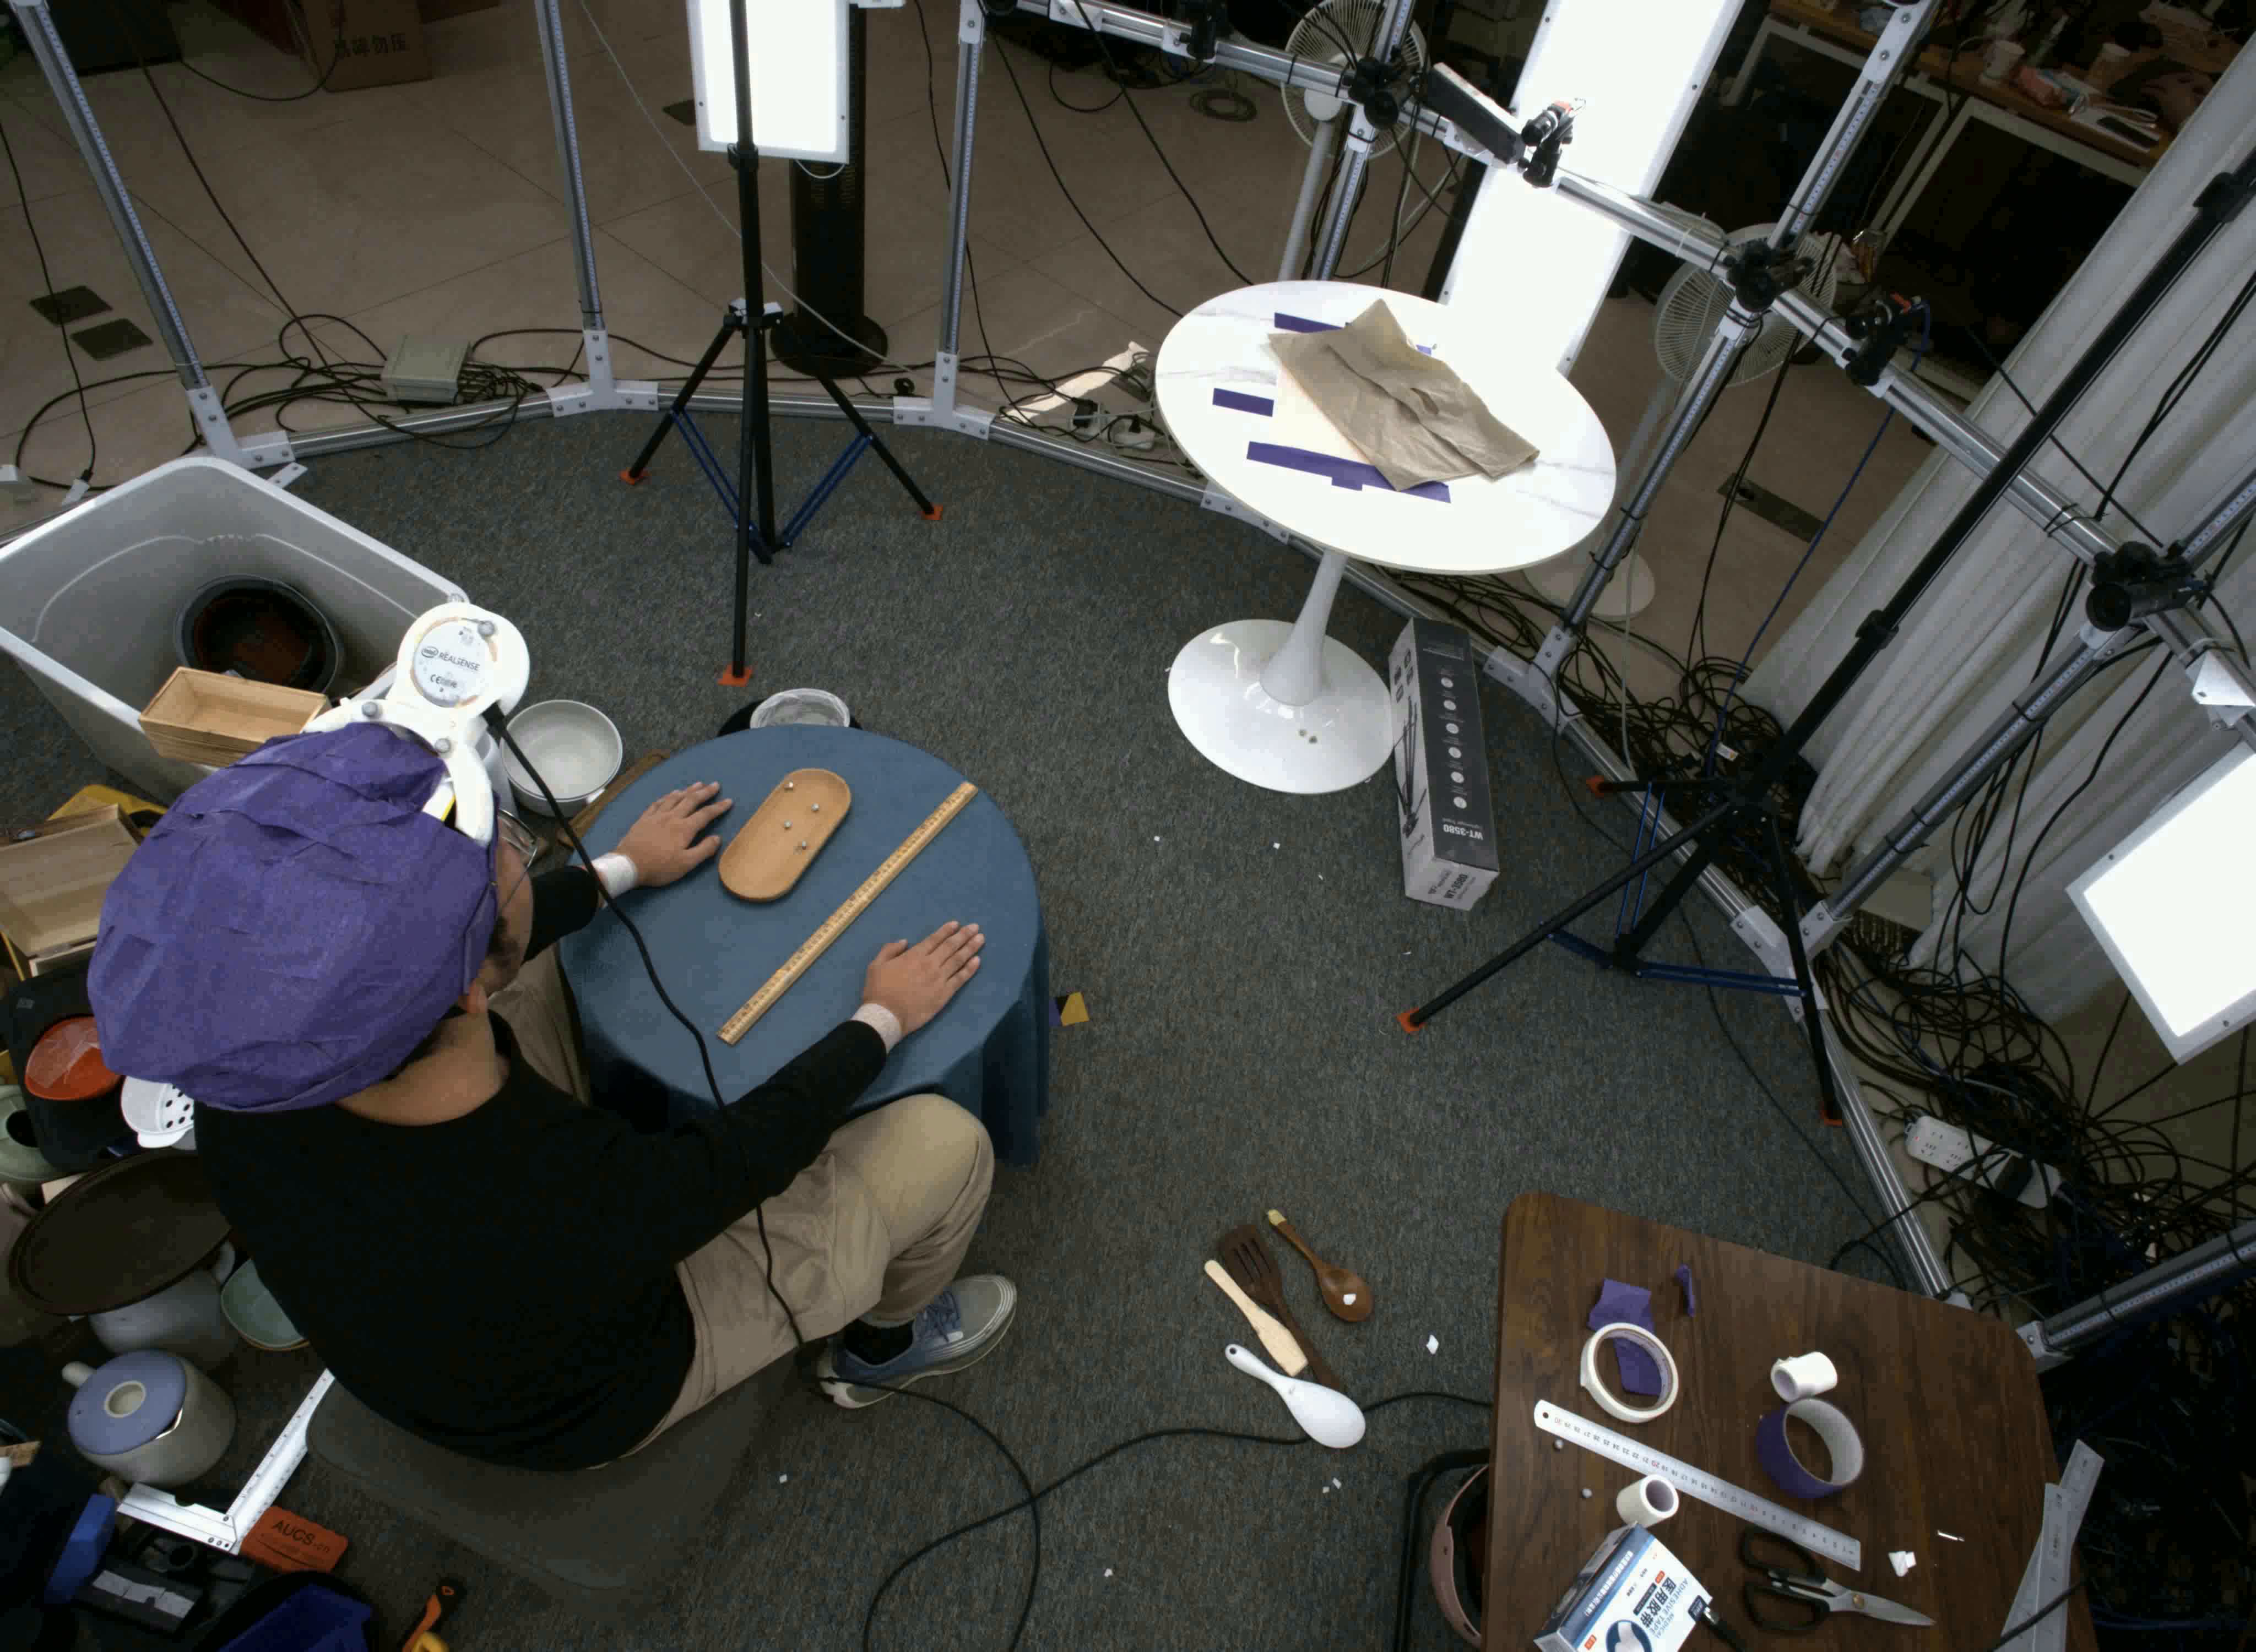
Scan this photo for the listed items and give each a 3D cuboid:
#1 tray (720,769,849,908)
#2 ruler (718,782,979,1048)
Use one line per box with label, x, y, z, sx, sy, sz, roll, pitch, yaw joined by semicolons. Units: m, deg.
tray;-0.446;0.013;1.693;0.100;0.021;0.229;22;53;4
ruler;-0.346;0.096;1.664;0.026;0.006;0.499;31;53;12
